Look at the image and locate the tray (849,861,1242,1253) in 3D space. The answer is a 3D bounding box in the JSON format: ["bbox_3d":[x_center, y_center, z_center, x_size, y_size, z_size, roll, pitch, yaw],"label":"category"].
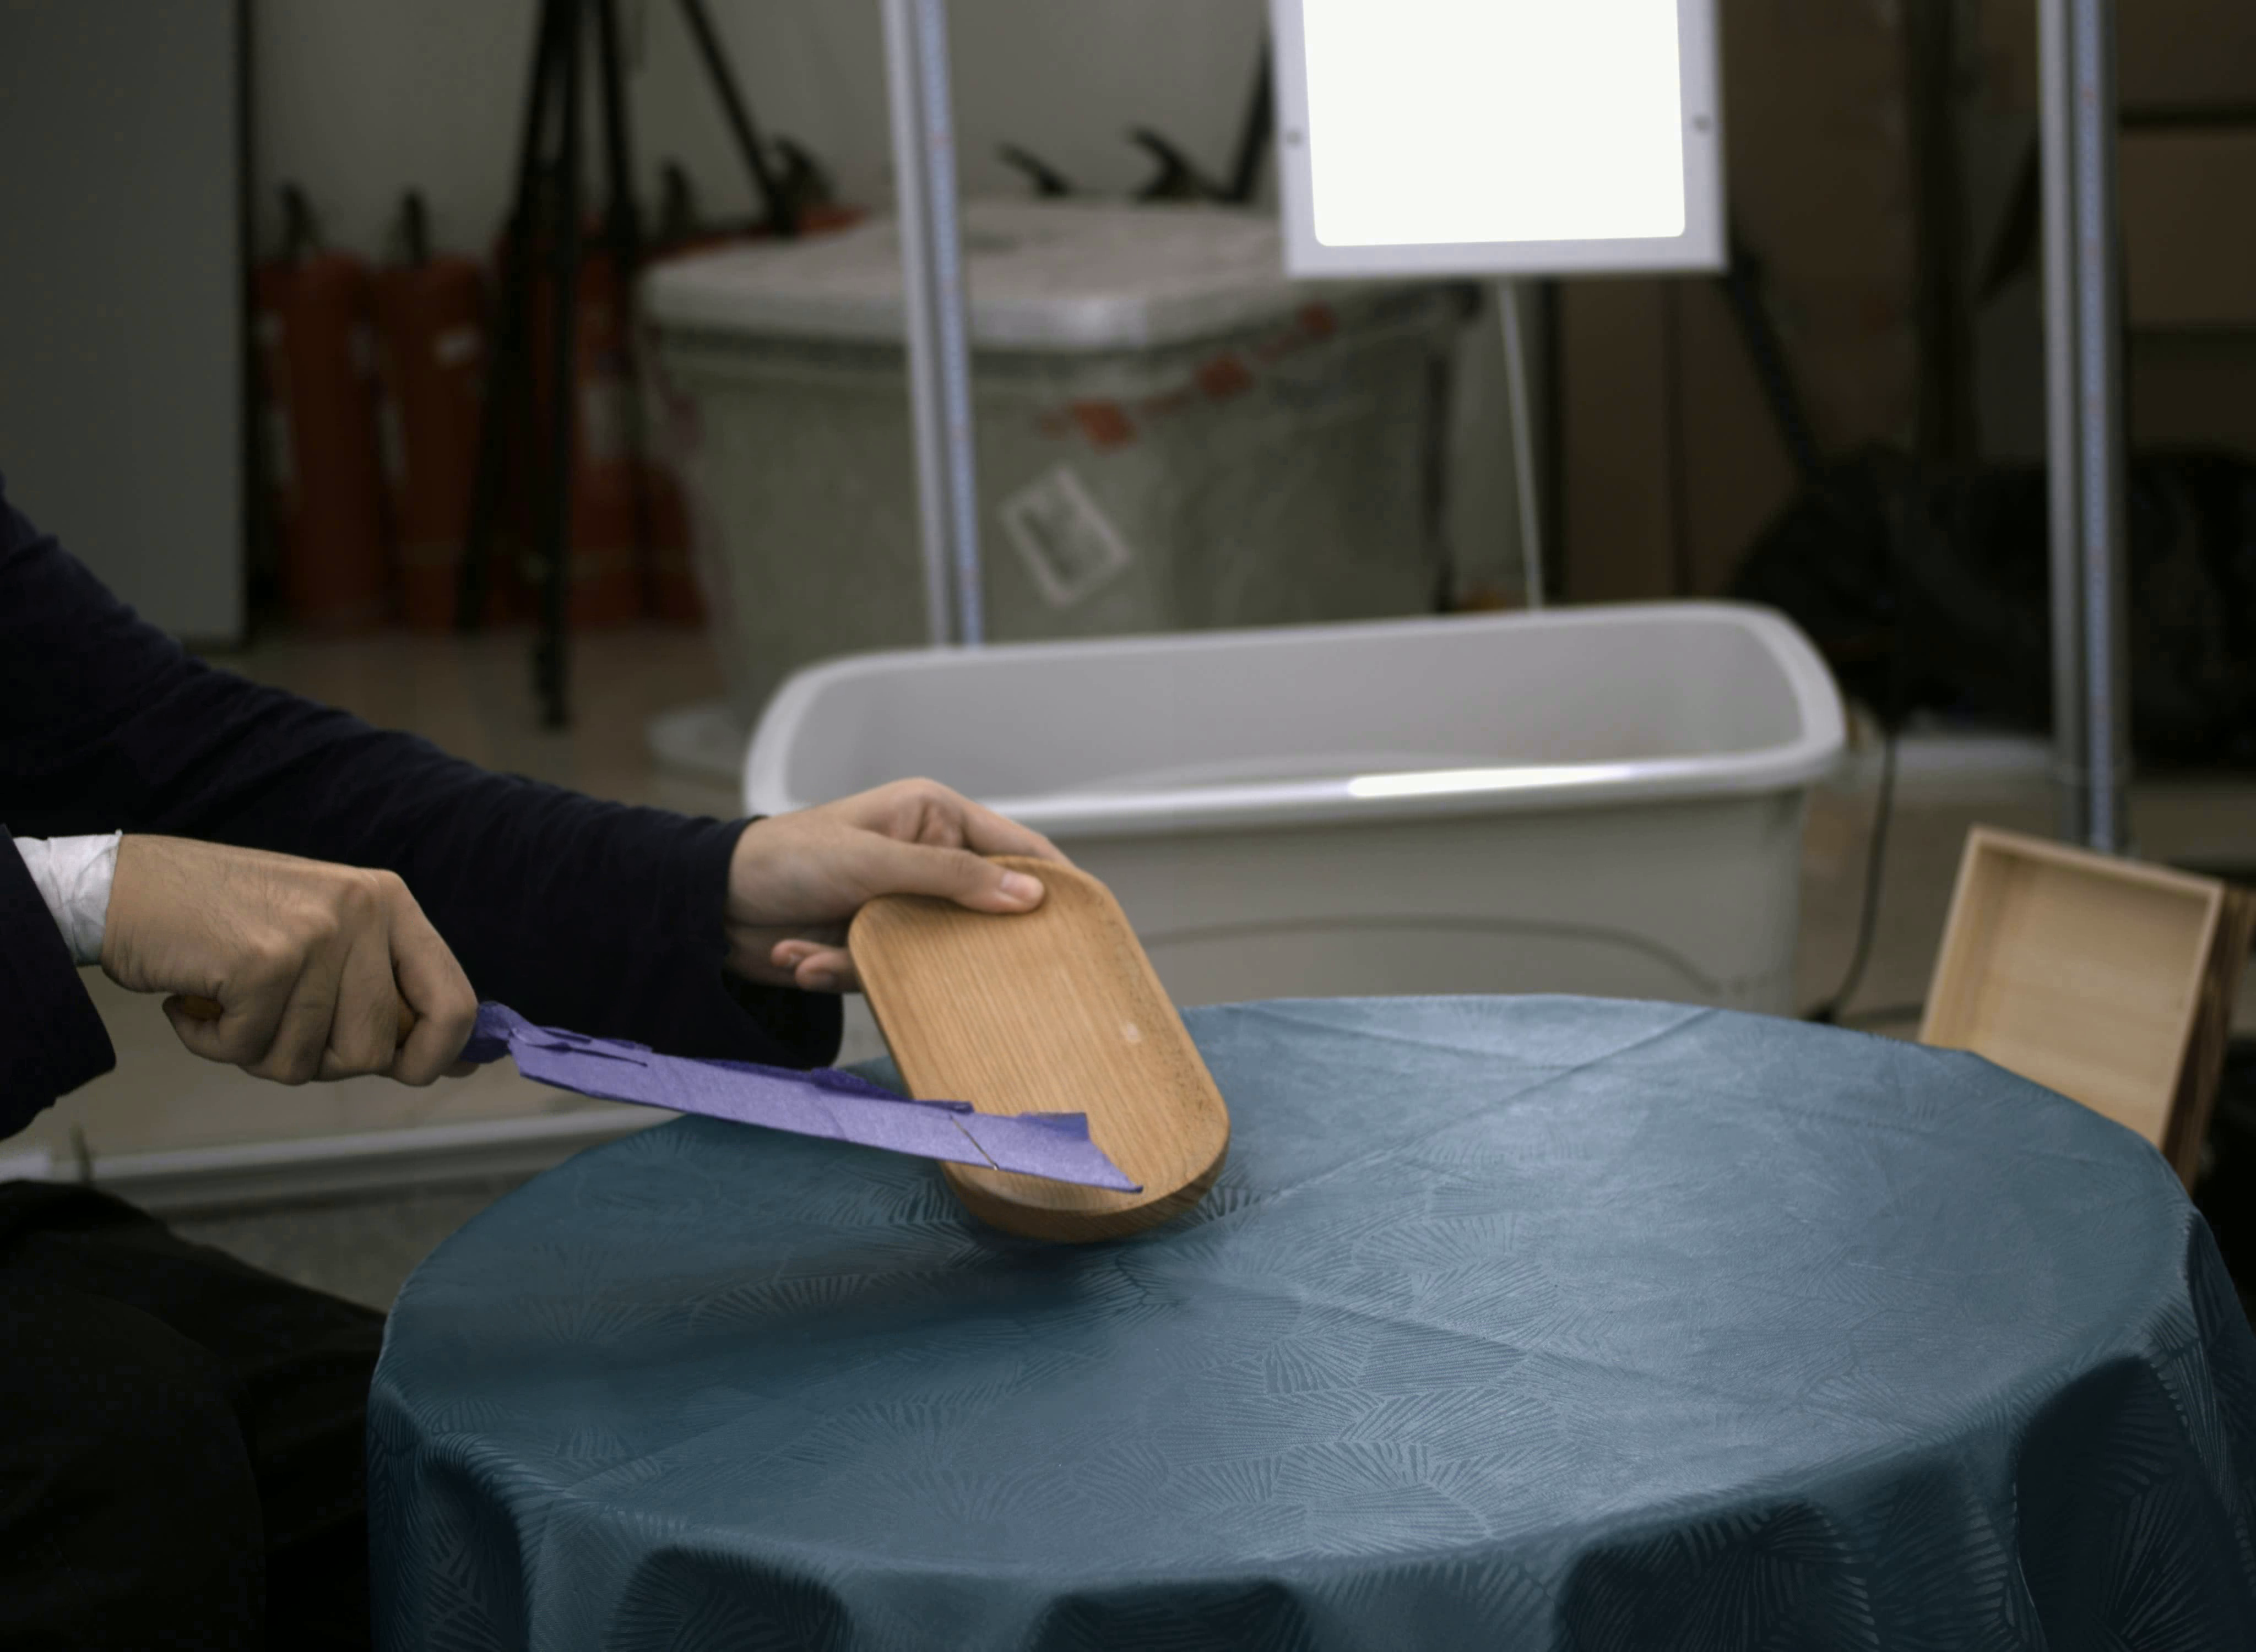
[{"bbox_3d":[-0.031,0.079,1.938,0.100,0.020,0.233,-15,35,-11],"label":"tray"}]

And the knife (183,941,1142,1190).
[{"bbox_3d":[-0.150,0.080,1.811,0.311,0.032,0.104,9,7,-12],"label":"knife"}]
